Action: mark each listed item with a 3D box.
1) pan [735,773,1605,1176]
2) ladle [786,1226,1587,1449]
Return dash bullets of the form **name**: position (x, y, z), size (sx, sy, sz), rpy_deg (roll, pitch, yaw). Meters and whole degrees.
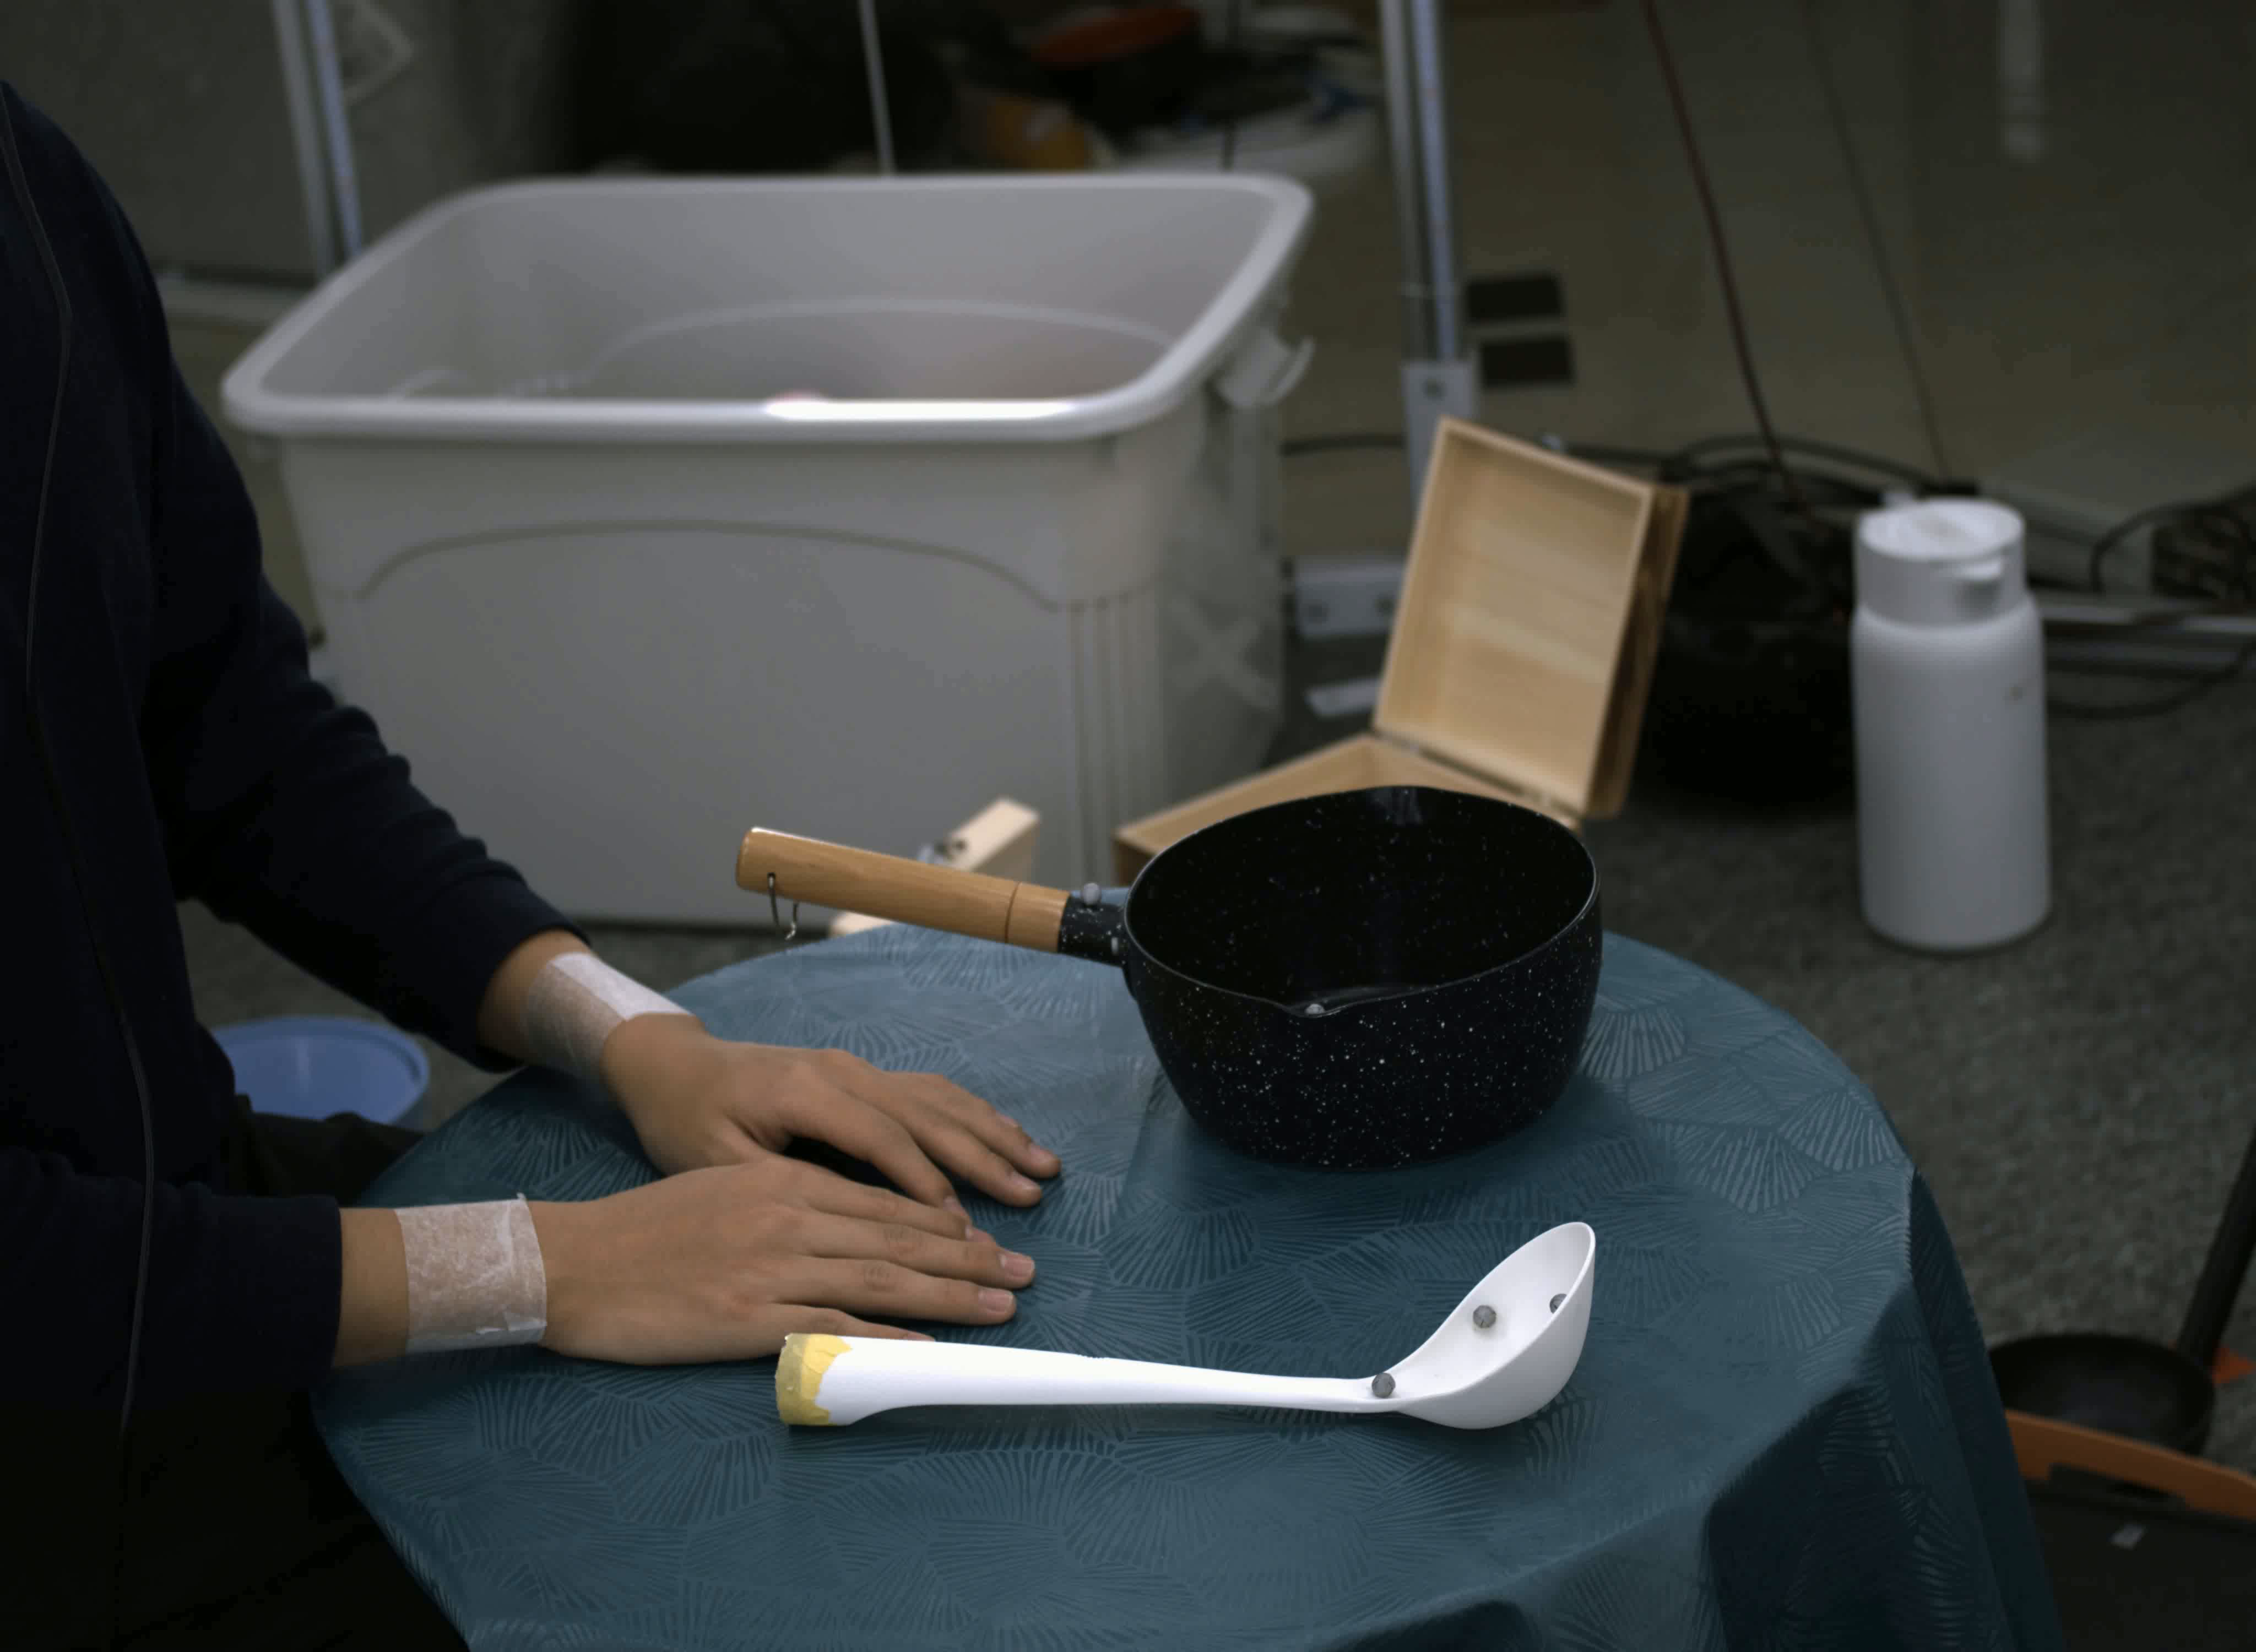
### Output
- **pan**: position (0.015, 0.052, 2.199), size (0.342, 0.110, 0.204), rpy_deg (1, 27, 12)
- **ladle**: position (0.019, 0.184, 1.982), size (0.292, 0.071, 0.089), rpy_deg (-2, 31, 14)
